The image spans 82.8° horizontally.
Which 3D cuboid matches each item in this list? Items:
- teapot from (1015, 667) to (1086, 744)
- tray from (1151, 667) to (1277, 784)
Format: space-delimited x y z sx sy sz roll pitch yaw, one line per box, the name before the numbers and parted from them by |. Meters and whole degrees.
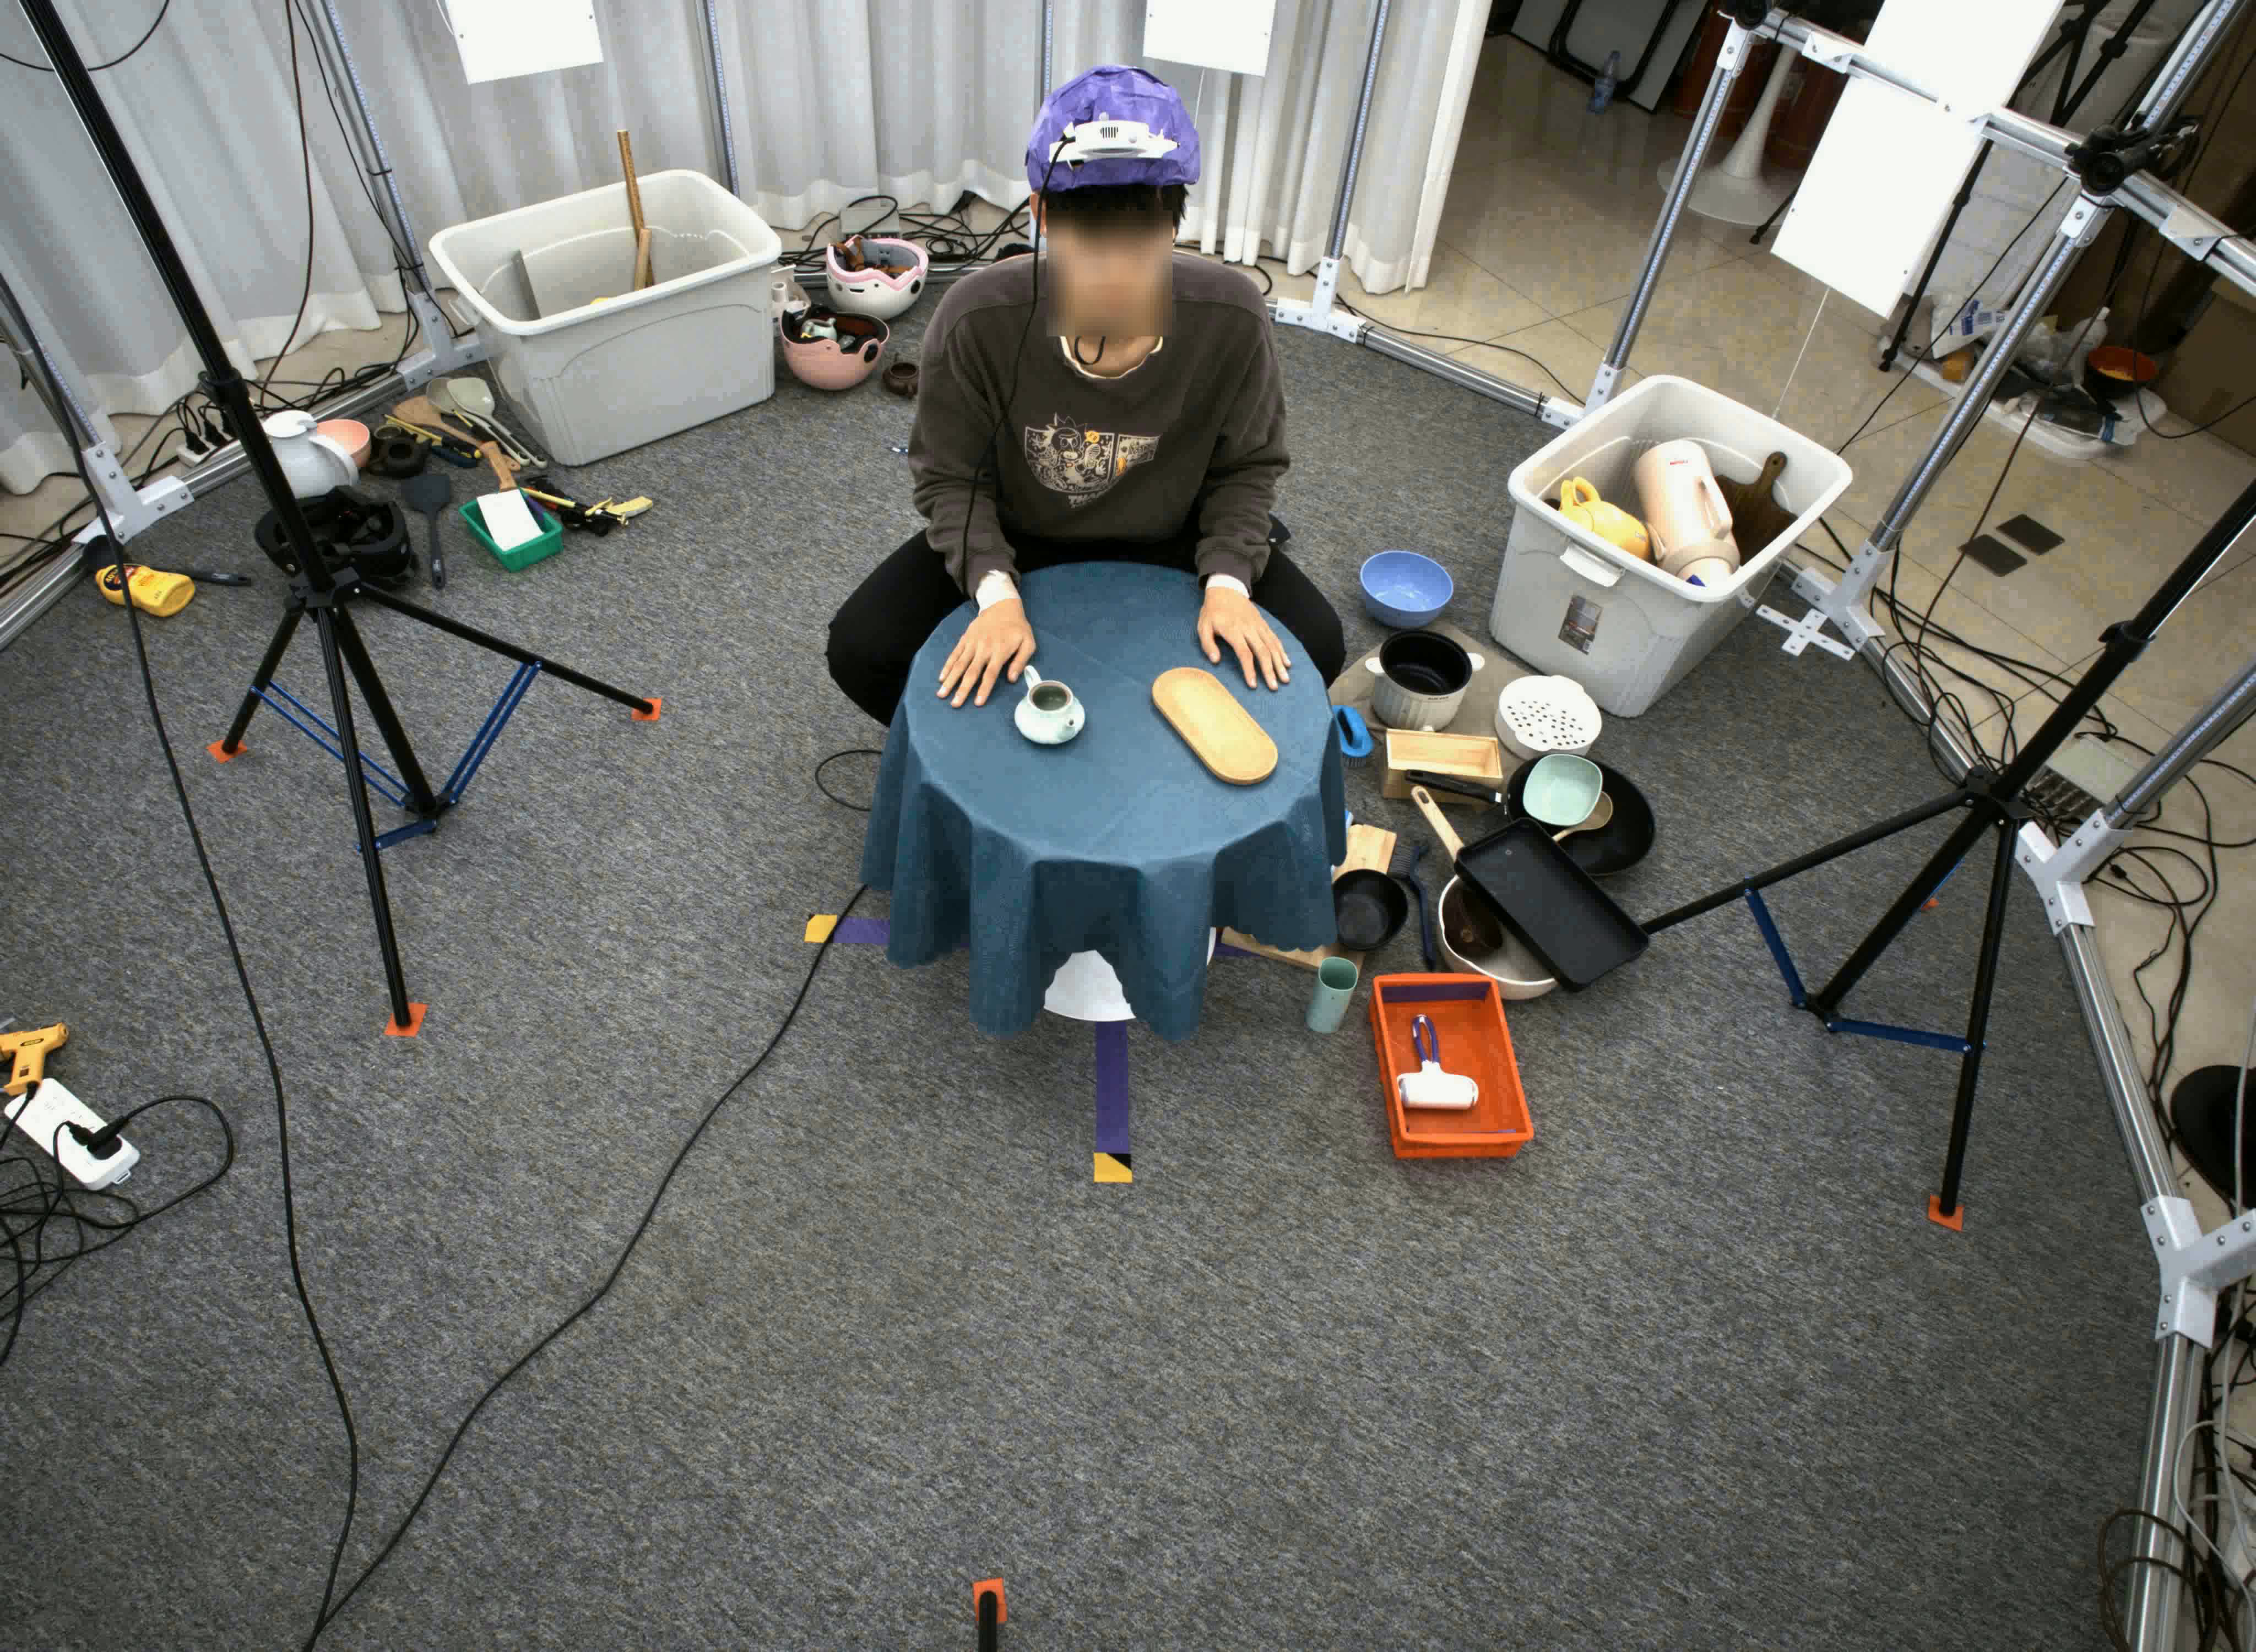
teapot | -0.109 -0.162 1.761 0.096 0.060 0.140 -25 56 -21
tray | 0.118 -0.142 1.785 0.102 0.020 0.236 -23 53 -22
